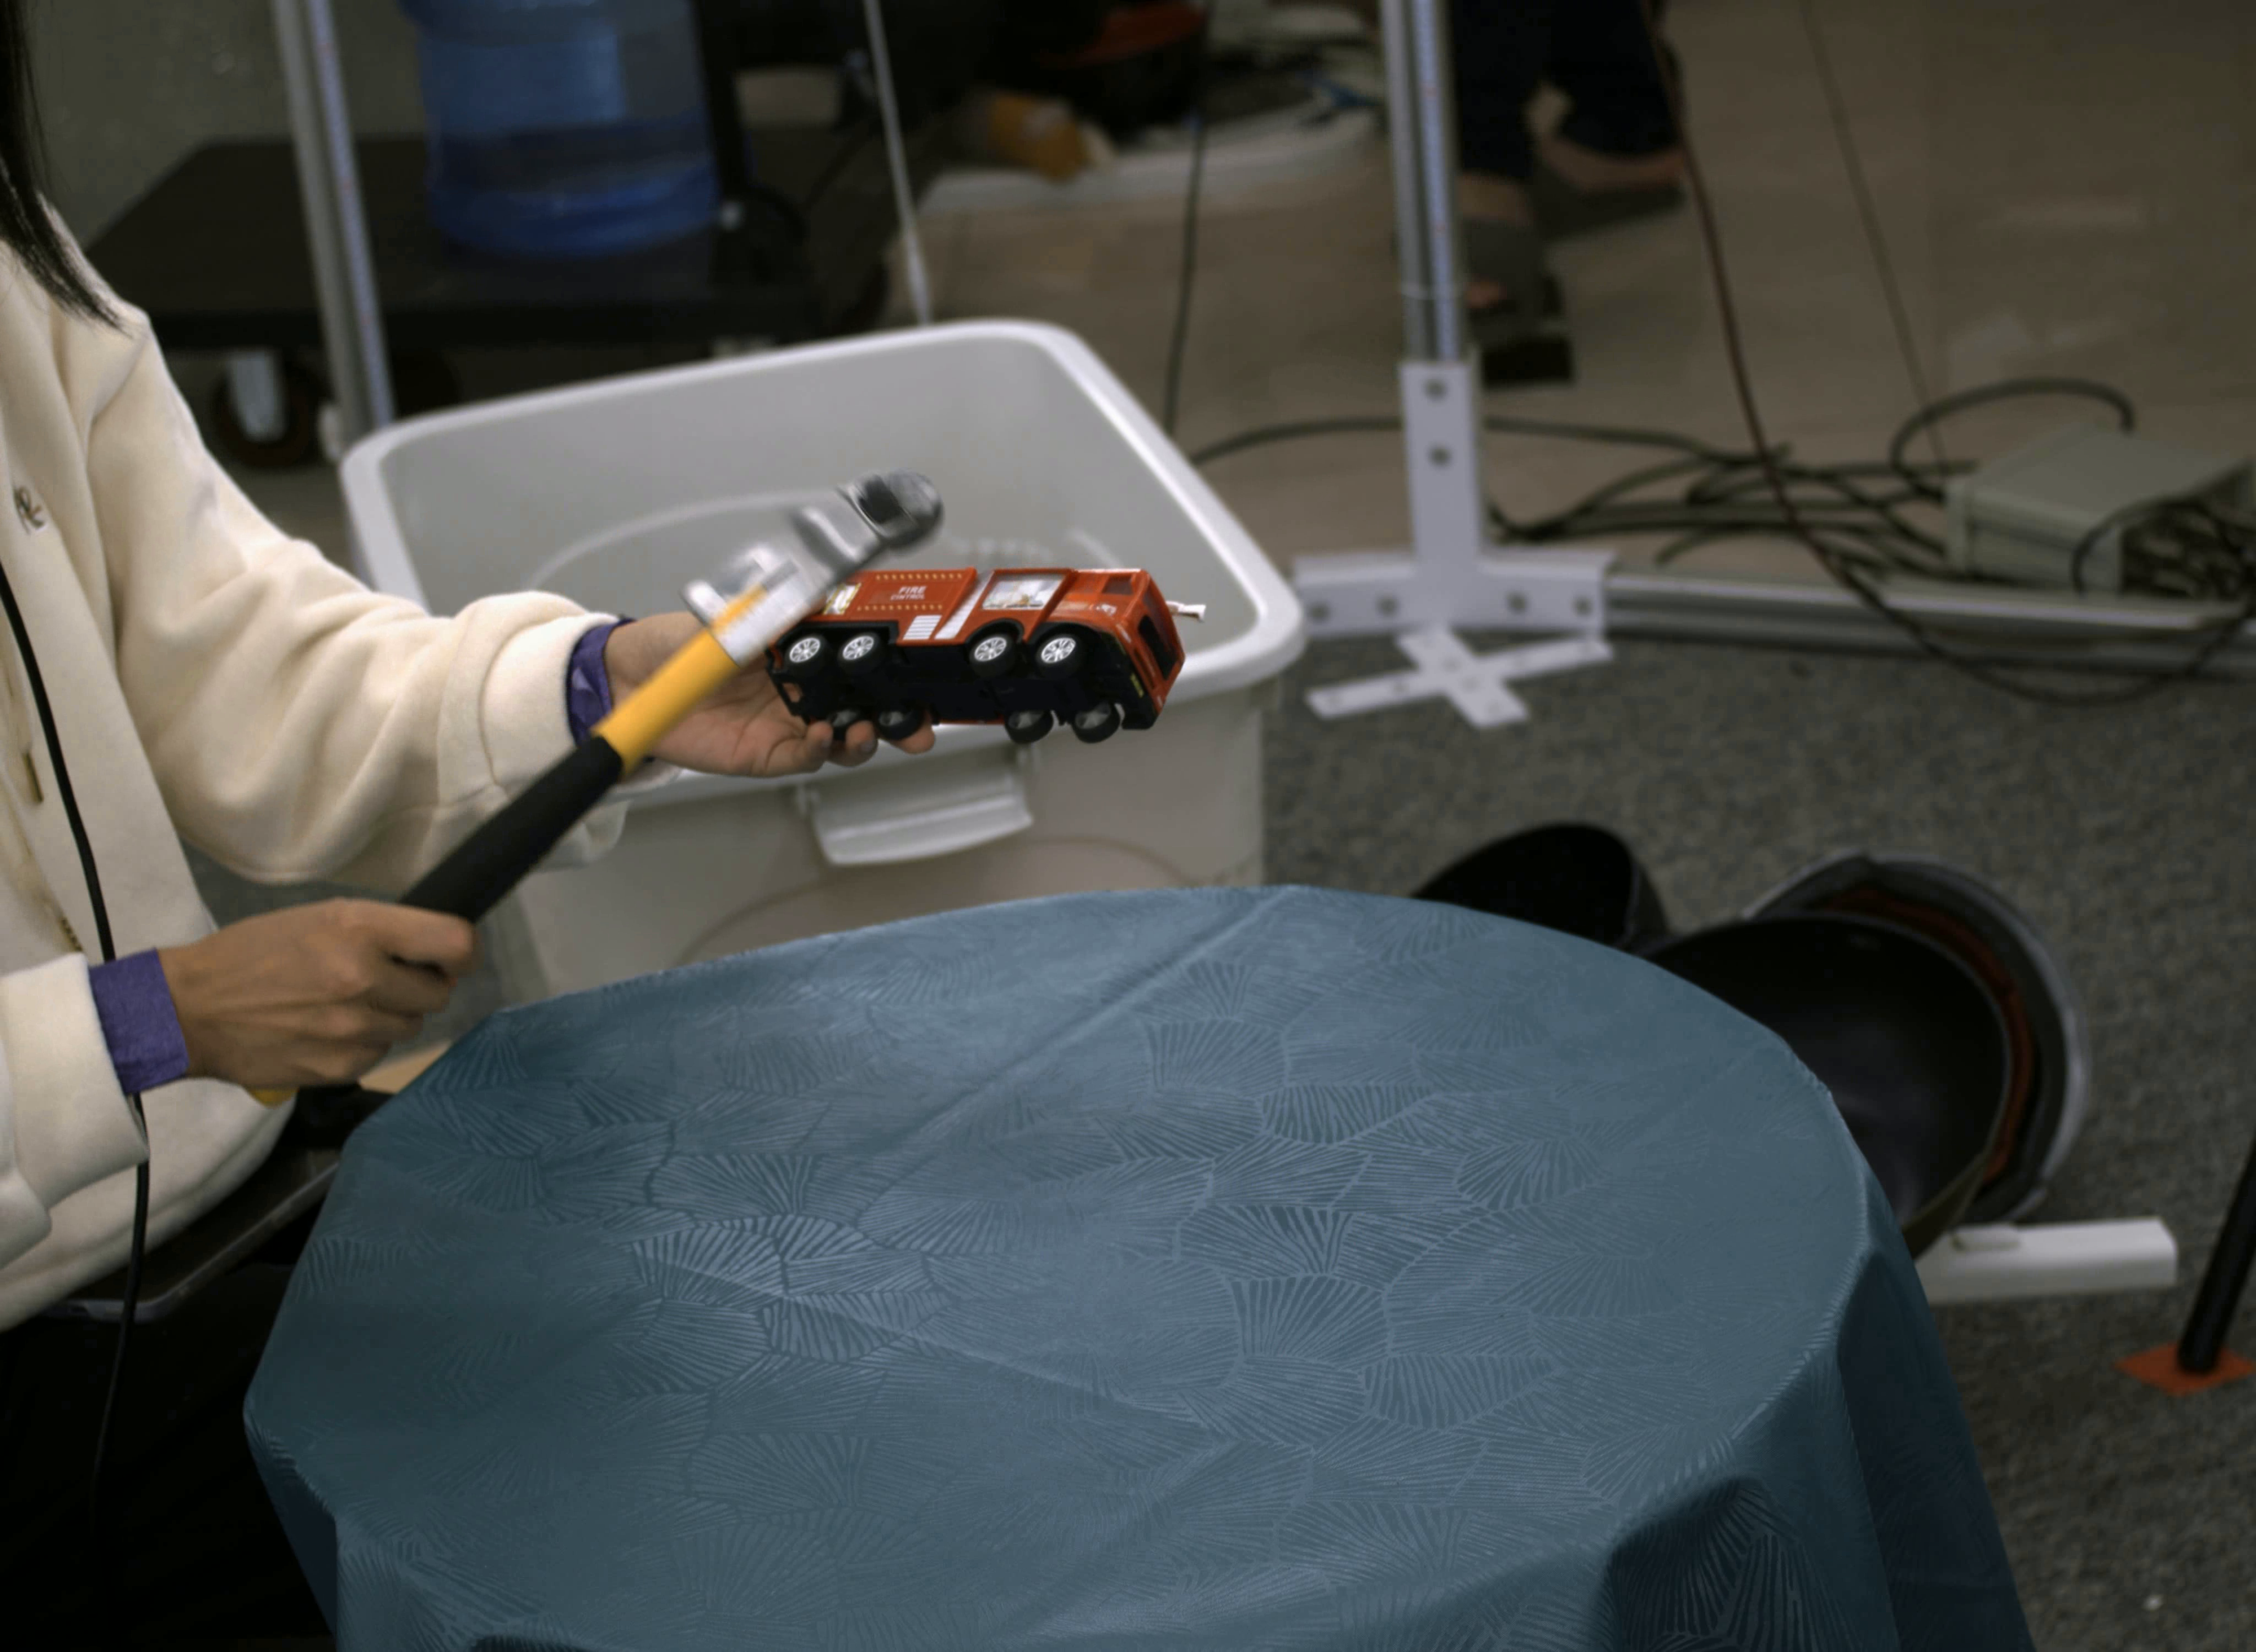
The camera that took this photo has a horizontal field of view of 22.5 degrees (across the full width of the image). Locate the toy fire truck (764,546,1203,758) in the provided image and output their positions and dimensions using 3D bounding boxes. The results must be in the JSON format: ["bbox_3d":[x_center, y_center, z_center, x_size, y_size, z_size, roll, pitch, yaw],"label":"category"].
[{"bbox_3d":[-0.055,-0.067,2.135,0.167,0.055,0.069,1,46,32],"label":"toy fire truck"}]

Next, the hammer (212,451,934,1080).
[{"bbox_3d":[-0.213,-0.018,2.063,0.341,0.032,0.130,-40,-1,21],"label":"hammer"}]
